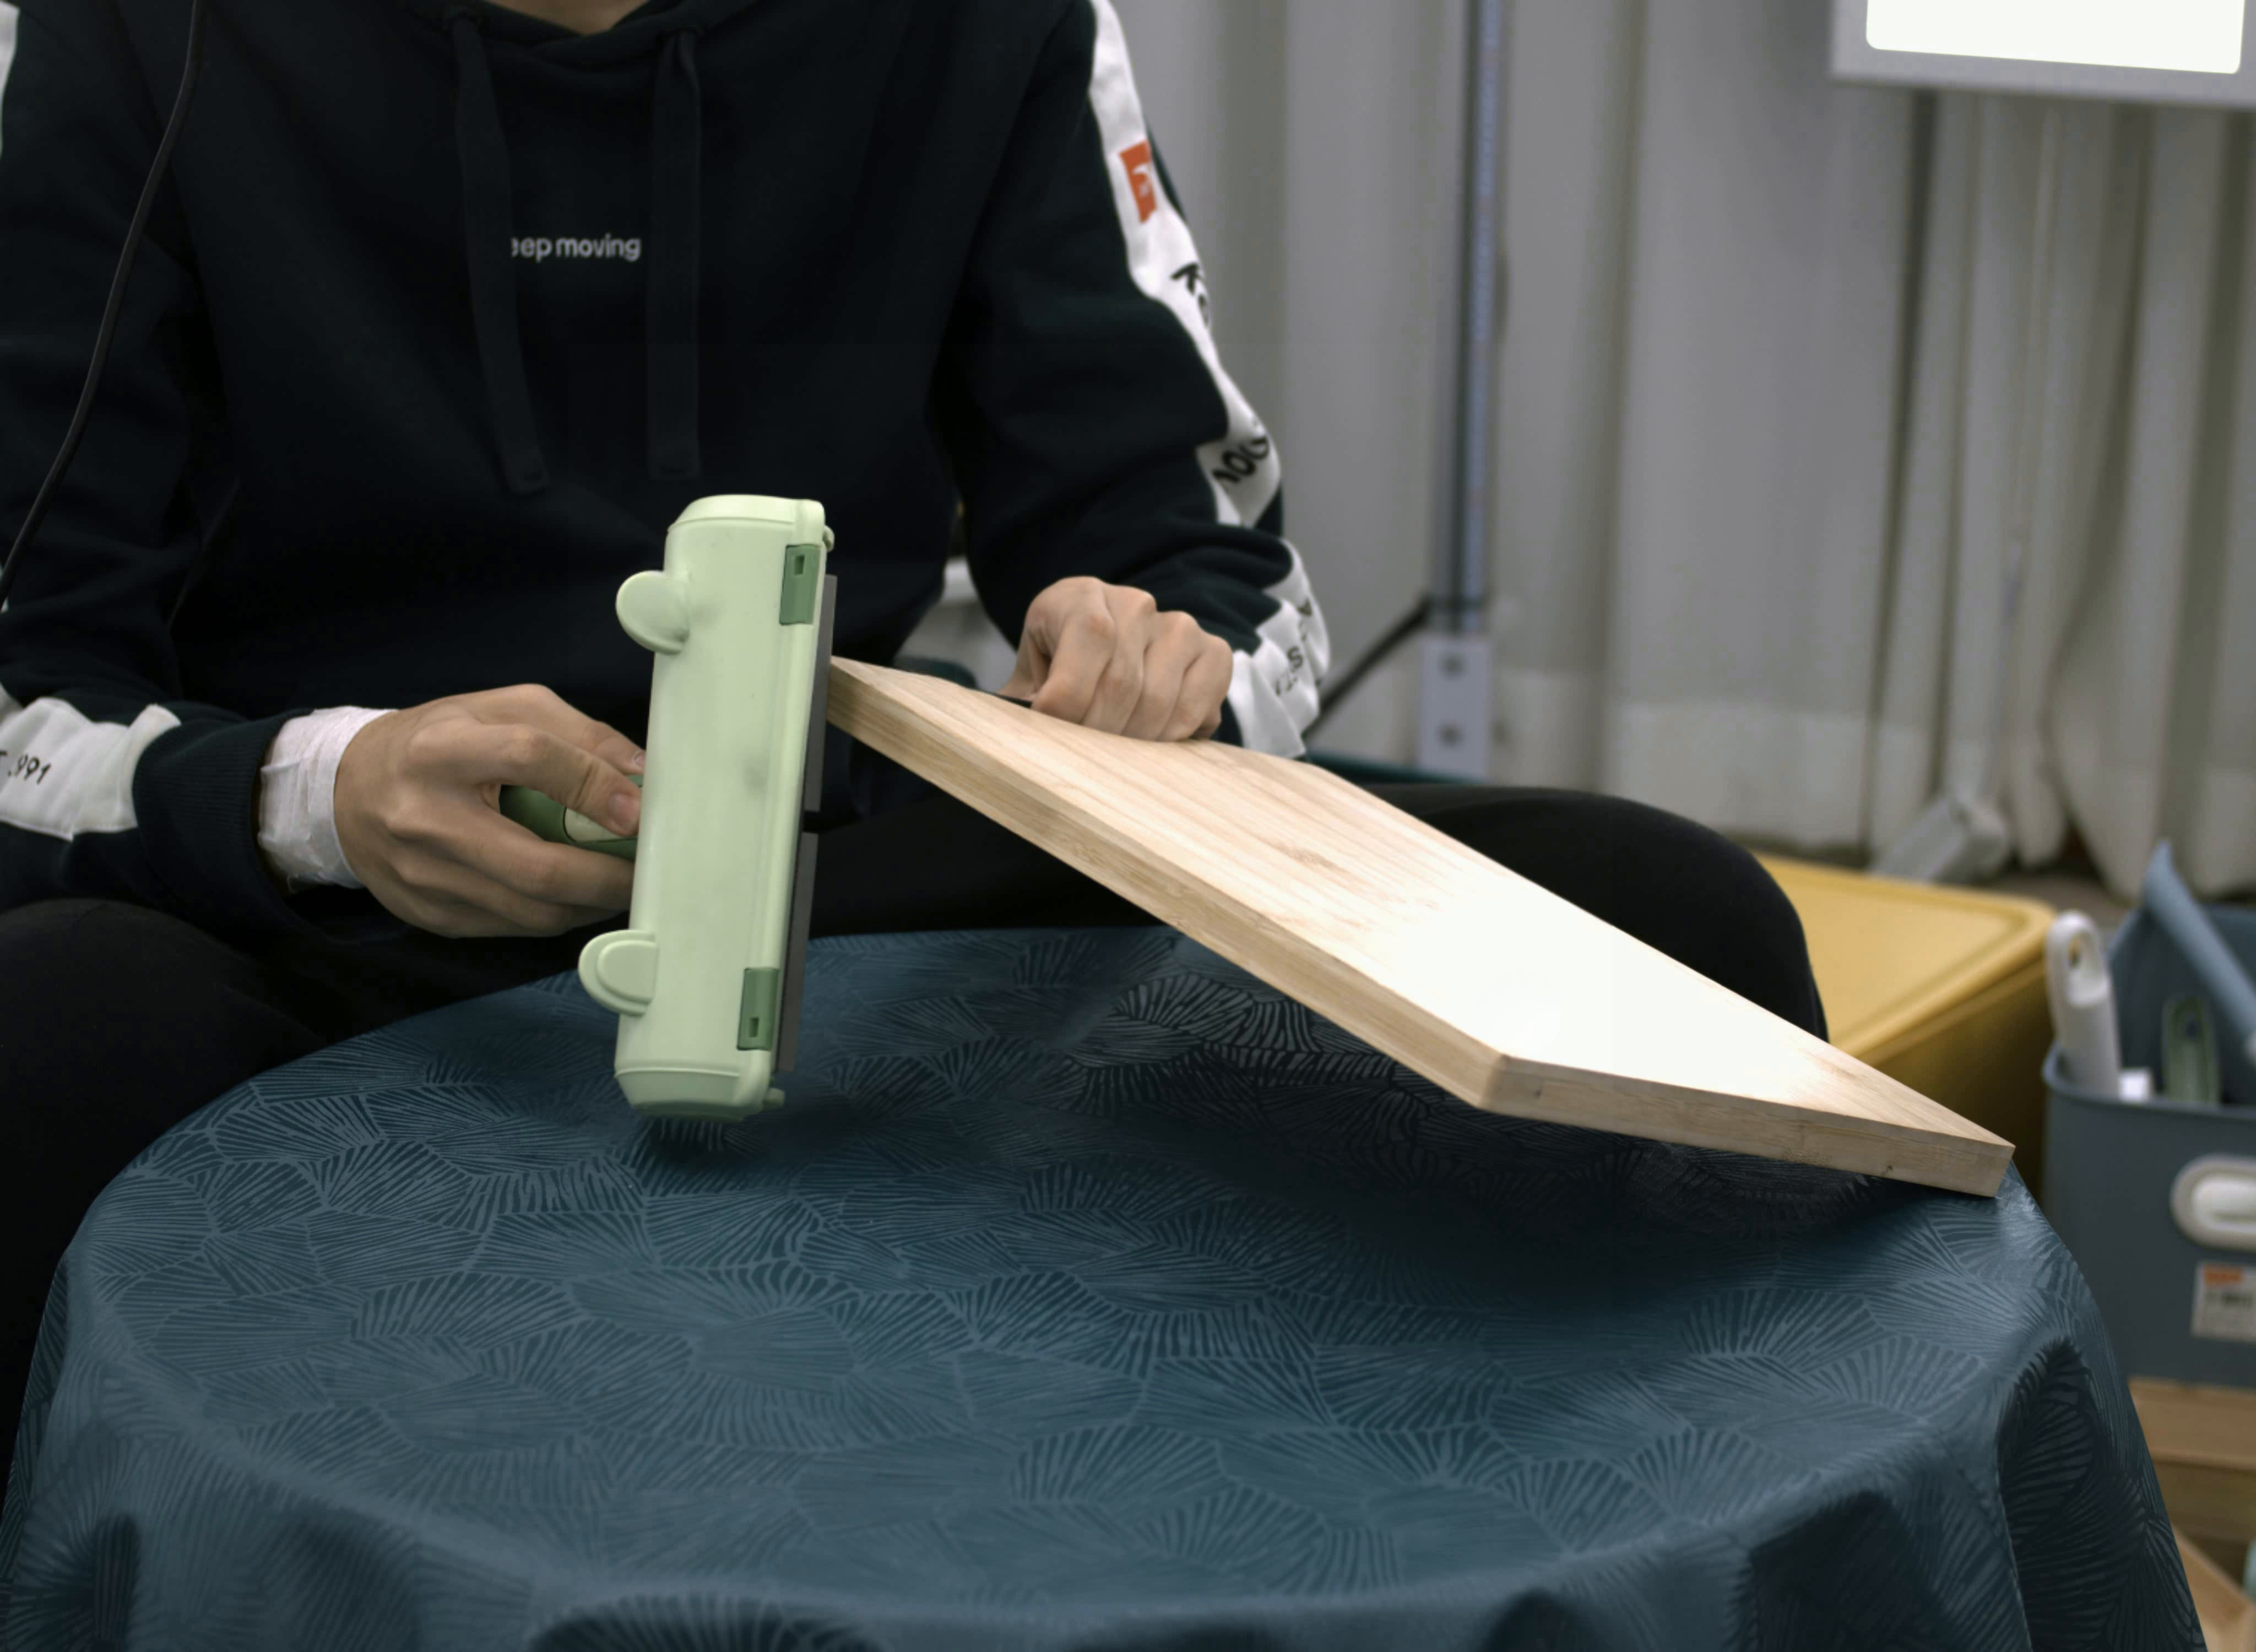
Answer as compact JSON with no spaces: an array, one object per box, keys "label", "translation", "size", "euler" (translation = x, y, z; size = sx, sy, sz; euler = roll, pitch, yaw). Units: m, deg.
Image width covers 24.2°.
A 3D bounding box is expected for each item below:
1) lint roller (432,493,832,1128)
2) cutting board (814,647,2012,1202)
[{"label":"lint roller","translation":[-0.175,-0.004,1.683],"size":[0.181,0.198,0.083],"euler":[-3,-13,36]},{"label":"cutting board","translation":[0.080,0.029,1.658],"size":[0.253,0.023,0.343],"euler":[13,12,-45]}]
